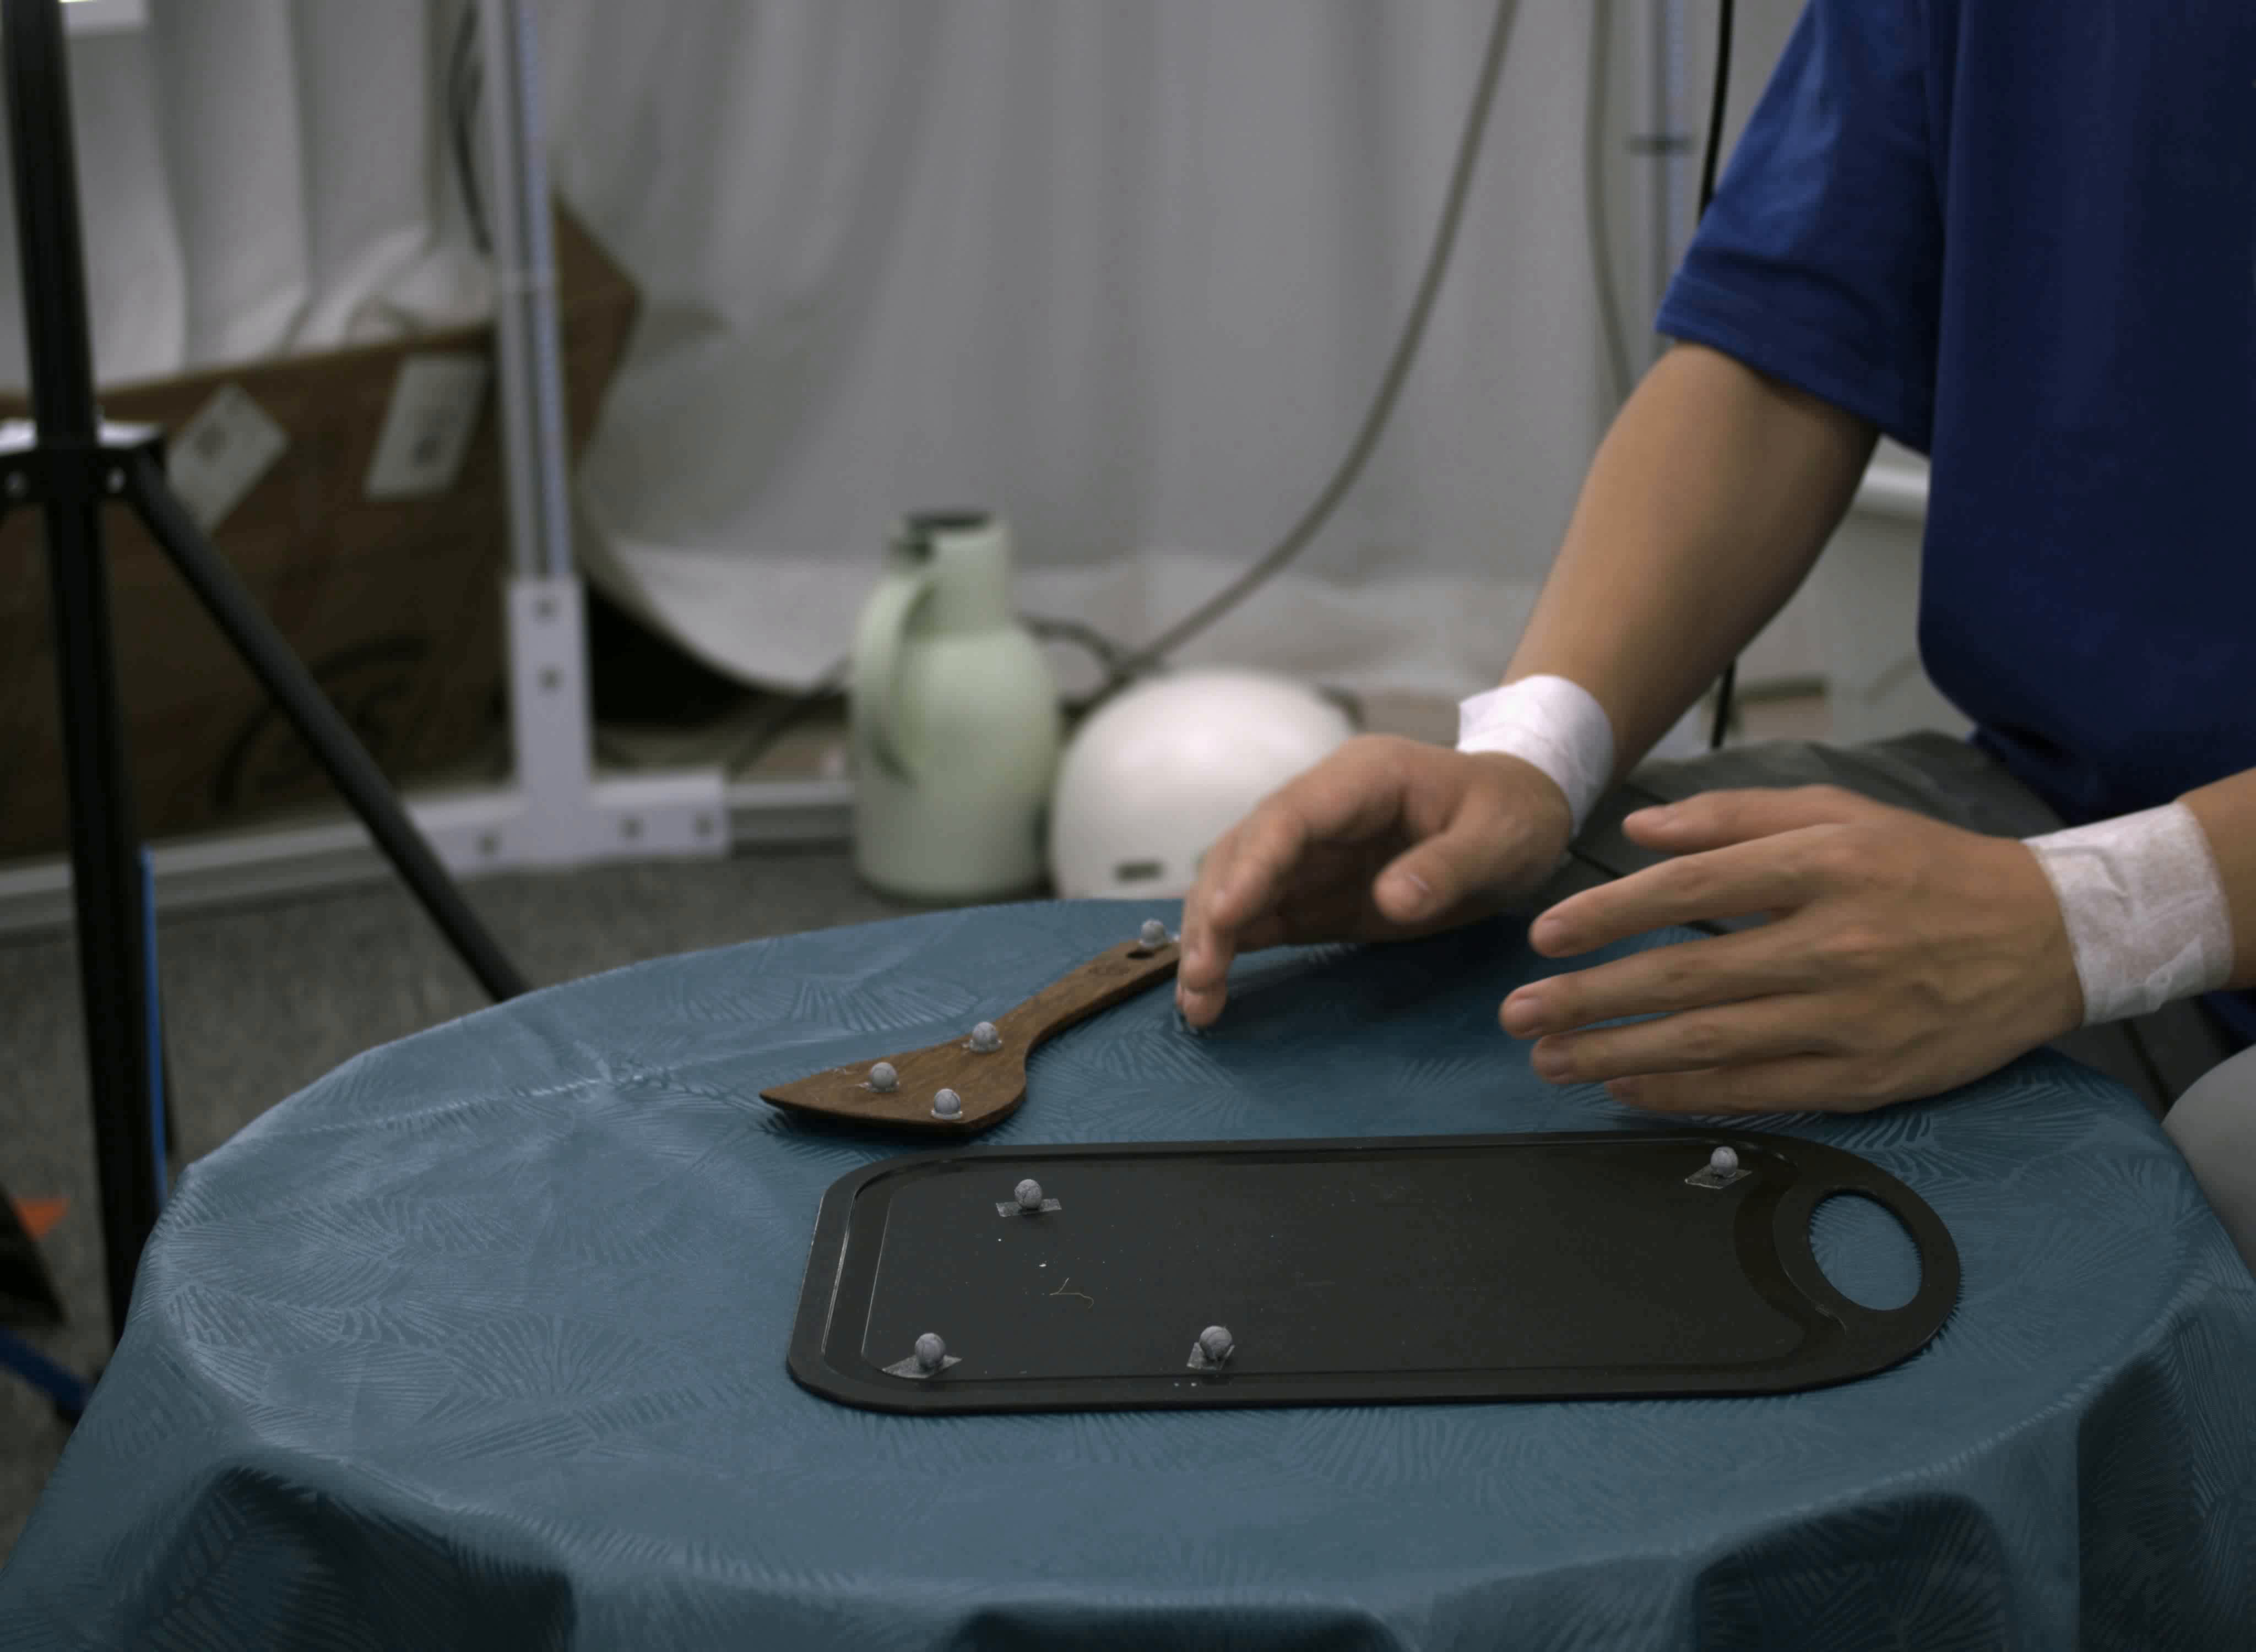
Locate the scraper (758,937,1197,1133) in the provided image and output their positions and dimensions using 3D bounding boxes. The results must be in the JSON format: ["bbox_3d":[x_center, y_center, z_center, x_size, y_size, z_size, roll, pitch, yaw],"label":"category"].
[{"bbox_3d":[-0.036,0.065,1.698,0.077,0.011,0.207,7,18,28],"label":"scraper"}]

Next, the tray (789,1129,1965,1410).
[{"bbox_3d":[0.071,0.121,1.488,0.325,0.010,0.211,-1,16,4],"label":"tray"}]
